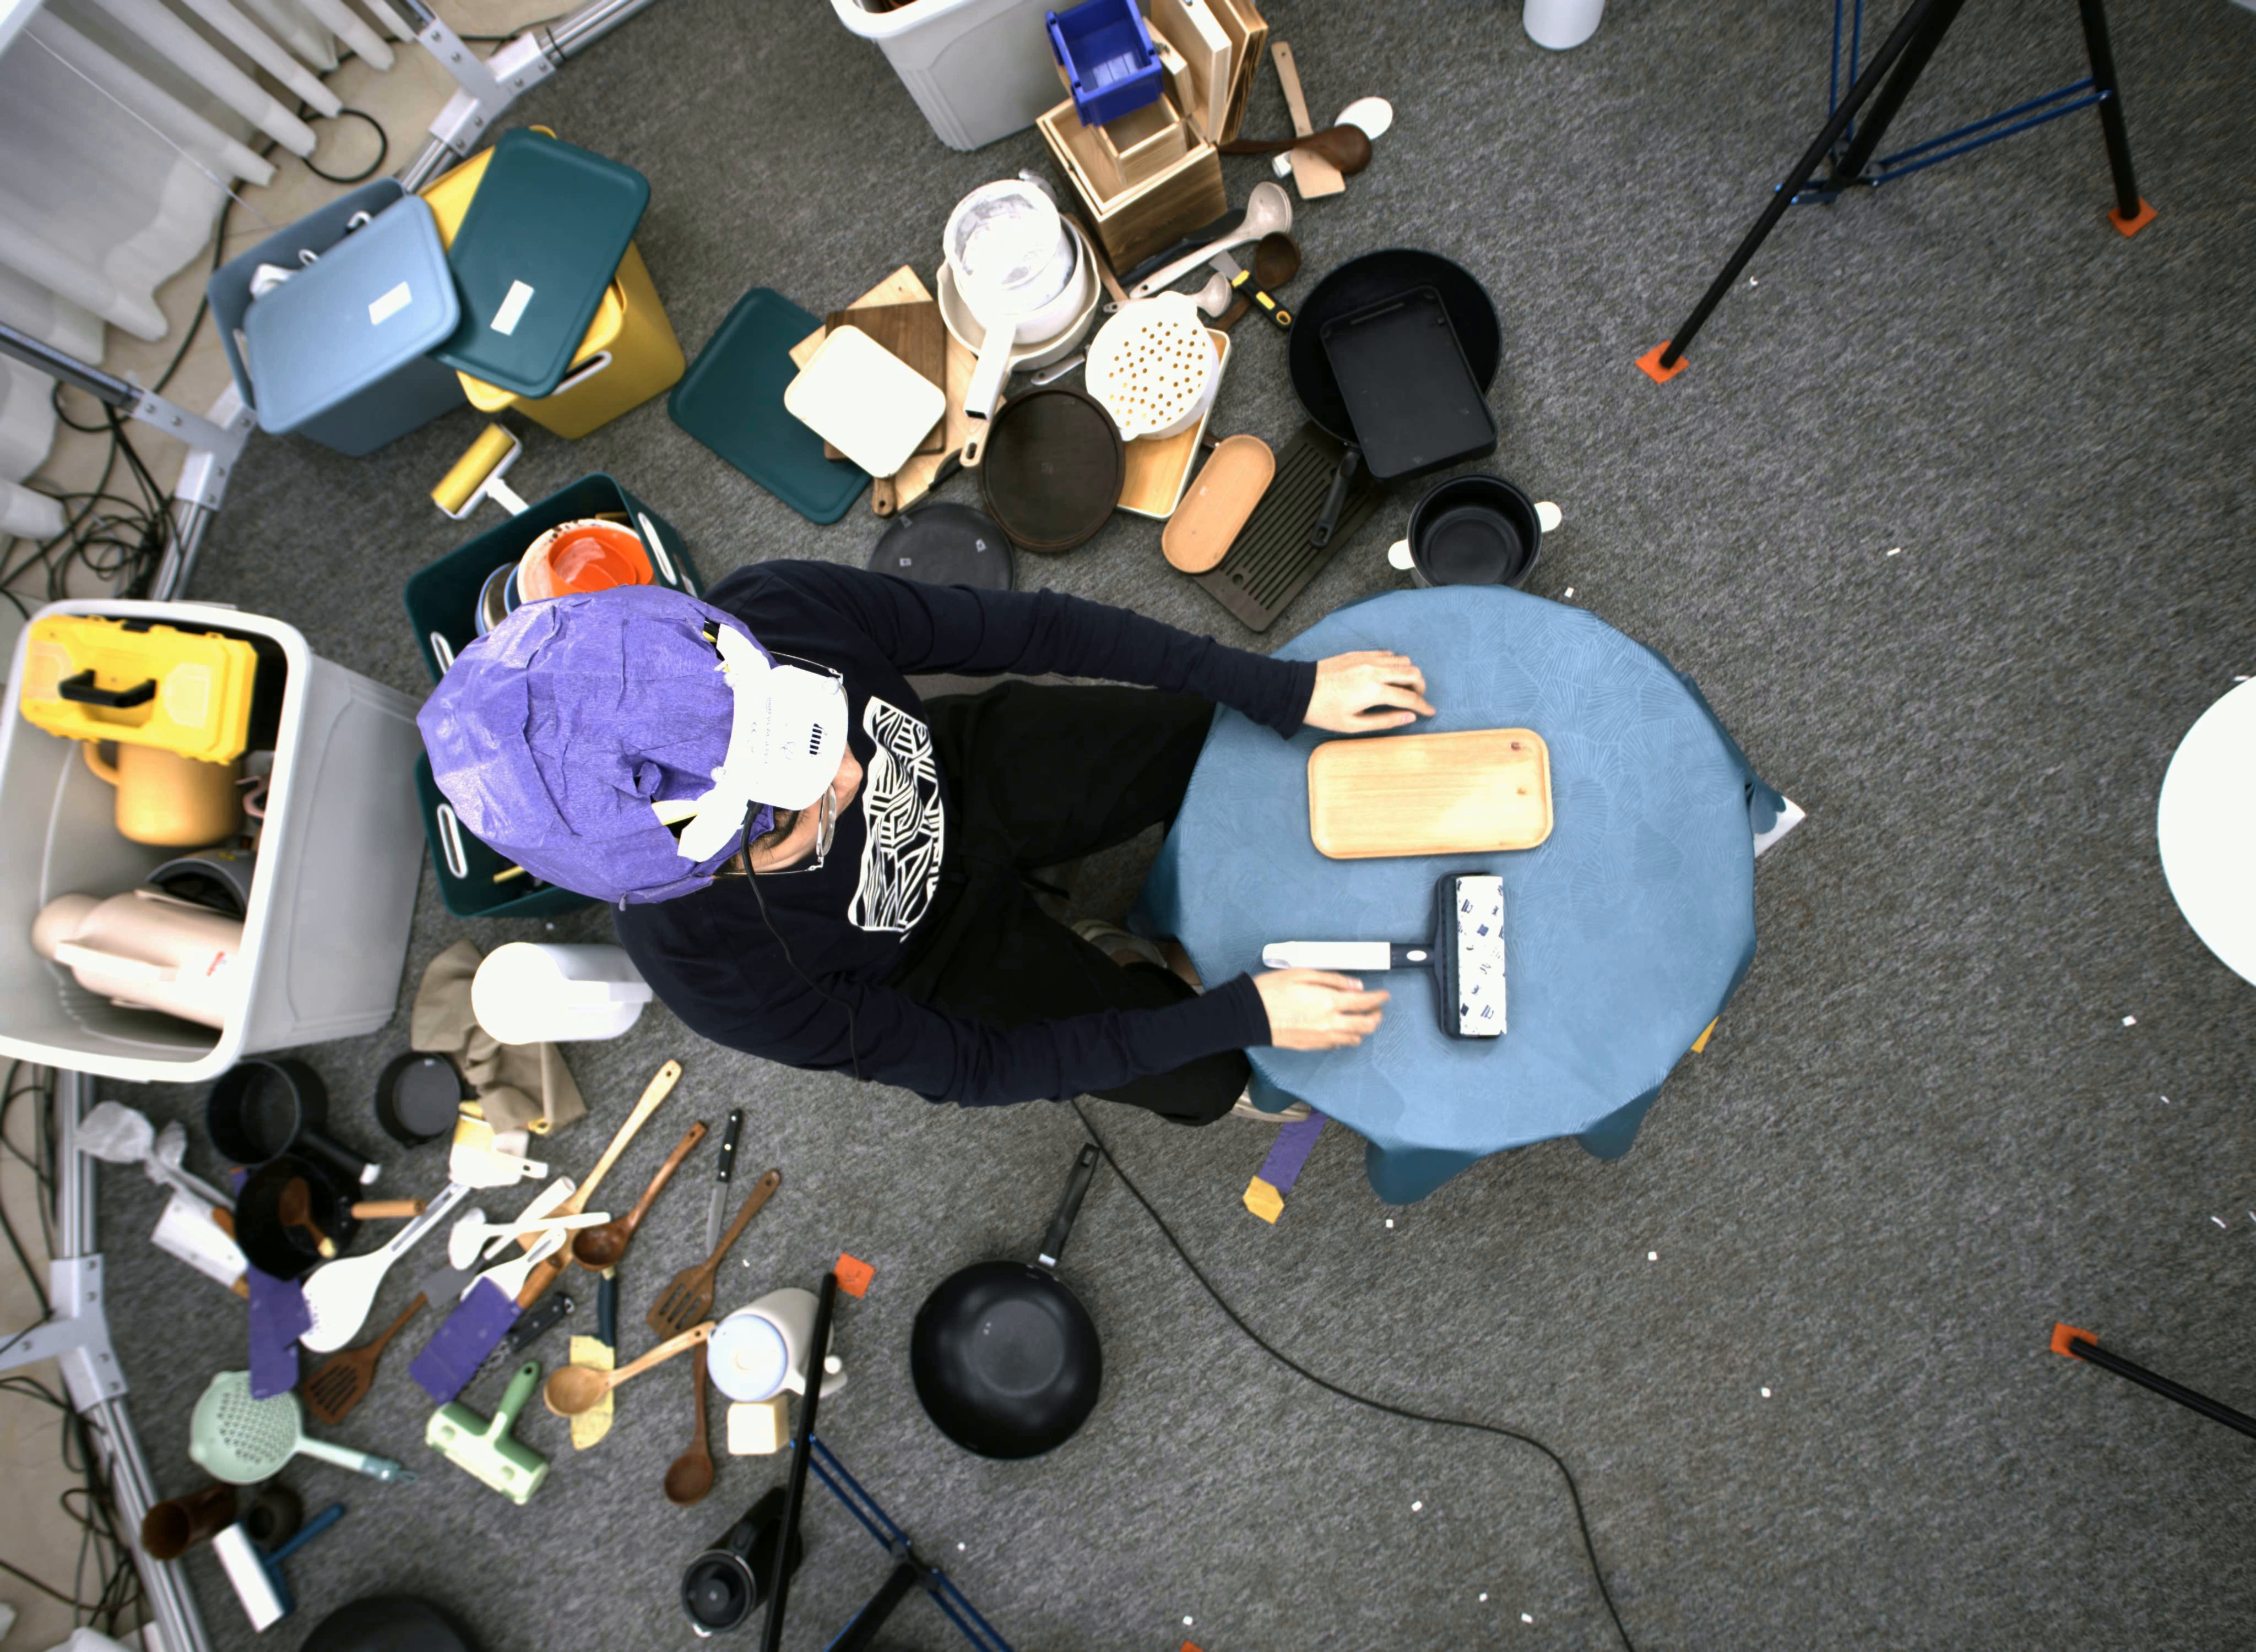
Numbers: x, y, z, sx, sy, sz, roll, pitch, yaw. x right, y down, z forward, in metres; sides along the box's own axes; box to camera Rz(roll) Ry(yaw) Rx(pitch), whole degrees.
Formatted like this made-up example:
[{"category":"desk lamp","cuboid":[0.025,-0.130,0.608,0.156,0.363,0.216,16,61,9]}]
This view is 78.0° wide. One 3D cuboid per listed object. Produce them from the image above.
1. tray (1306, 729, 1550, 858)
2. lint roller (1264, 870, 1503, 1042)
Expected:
[{"category":"tray","cuboid":[0.314,-0.035,1.450,0.252,0.023,0.129,-2,84,12]},{"category":"lint roller","cuboid":[0.263,0.135,1.438,0.248,0.050,0.175,-2,87,14]}]
